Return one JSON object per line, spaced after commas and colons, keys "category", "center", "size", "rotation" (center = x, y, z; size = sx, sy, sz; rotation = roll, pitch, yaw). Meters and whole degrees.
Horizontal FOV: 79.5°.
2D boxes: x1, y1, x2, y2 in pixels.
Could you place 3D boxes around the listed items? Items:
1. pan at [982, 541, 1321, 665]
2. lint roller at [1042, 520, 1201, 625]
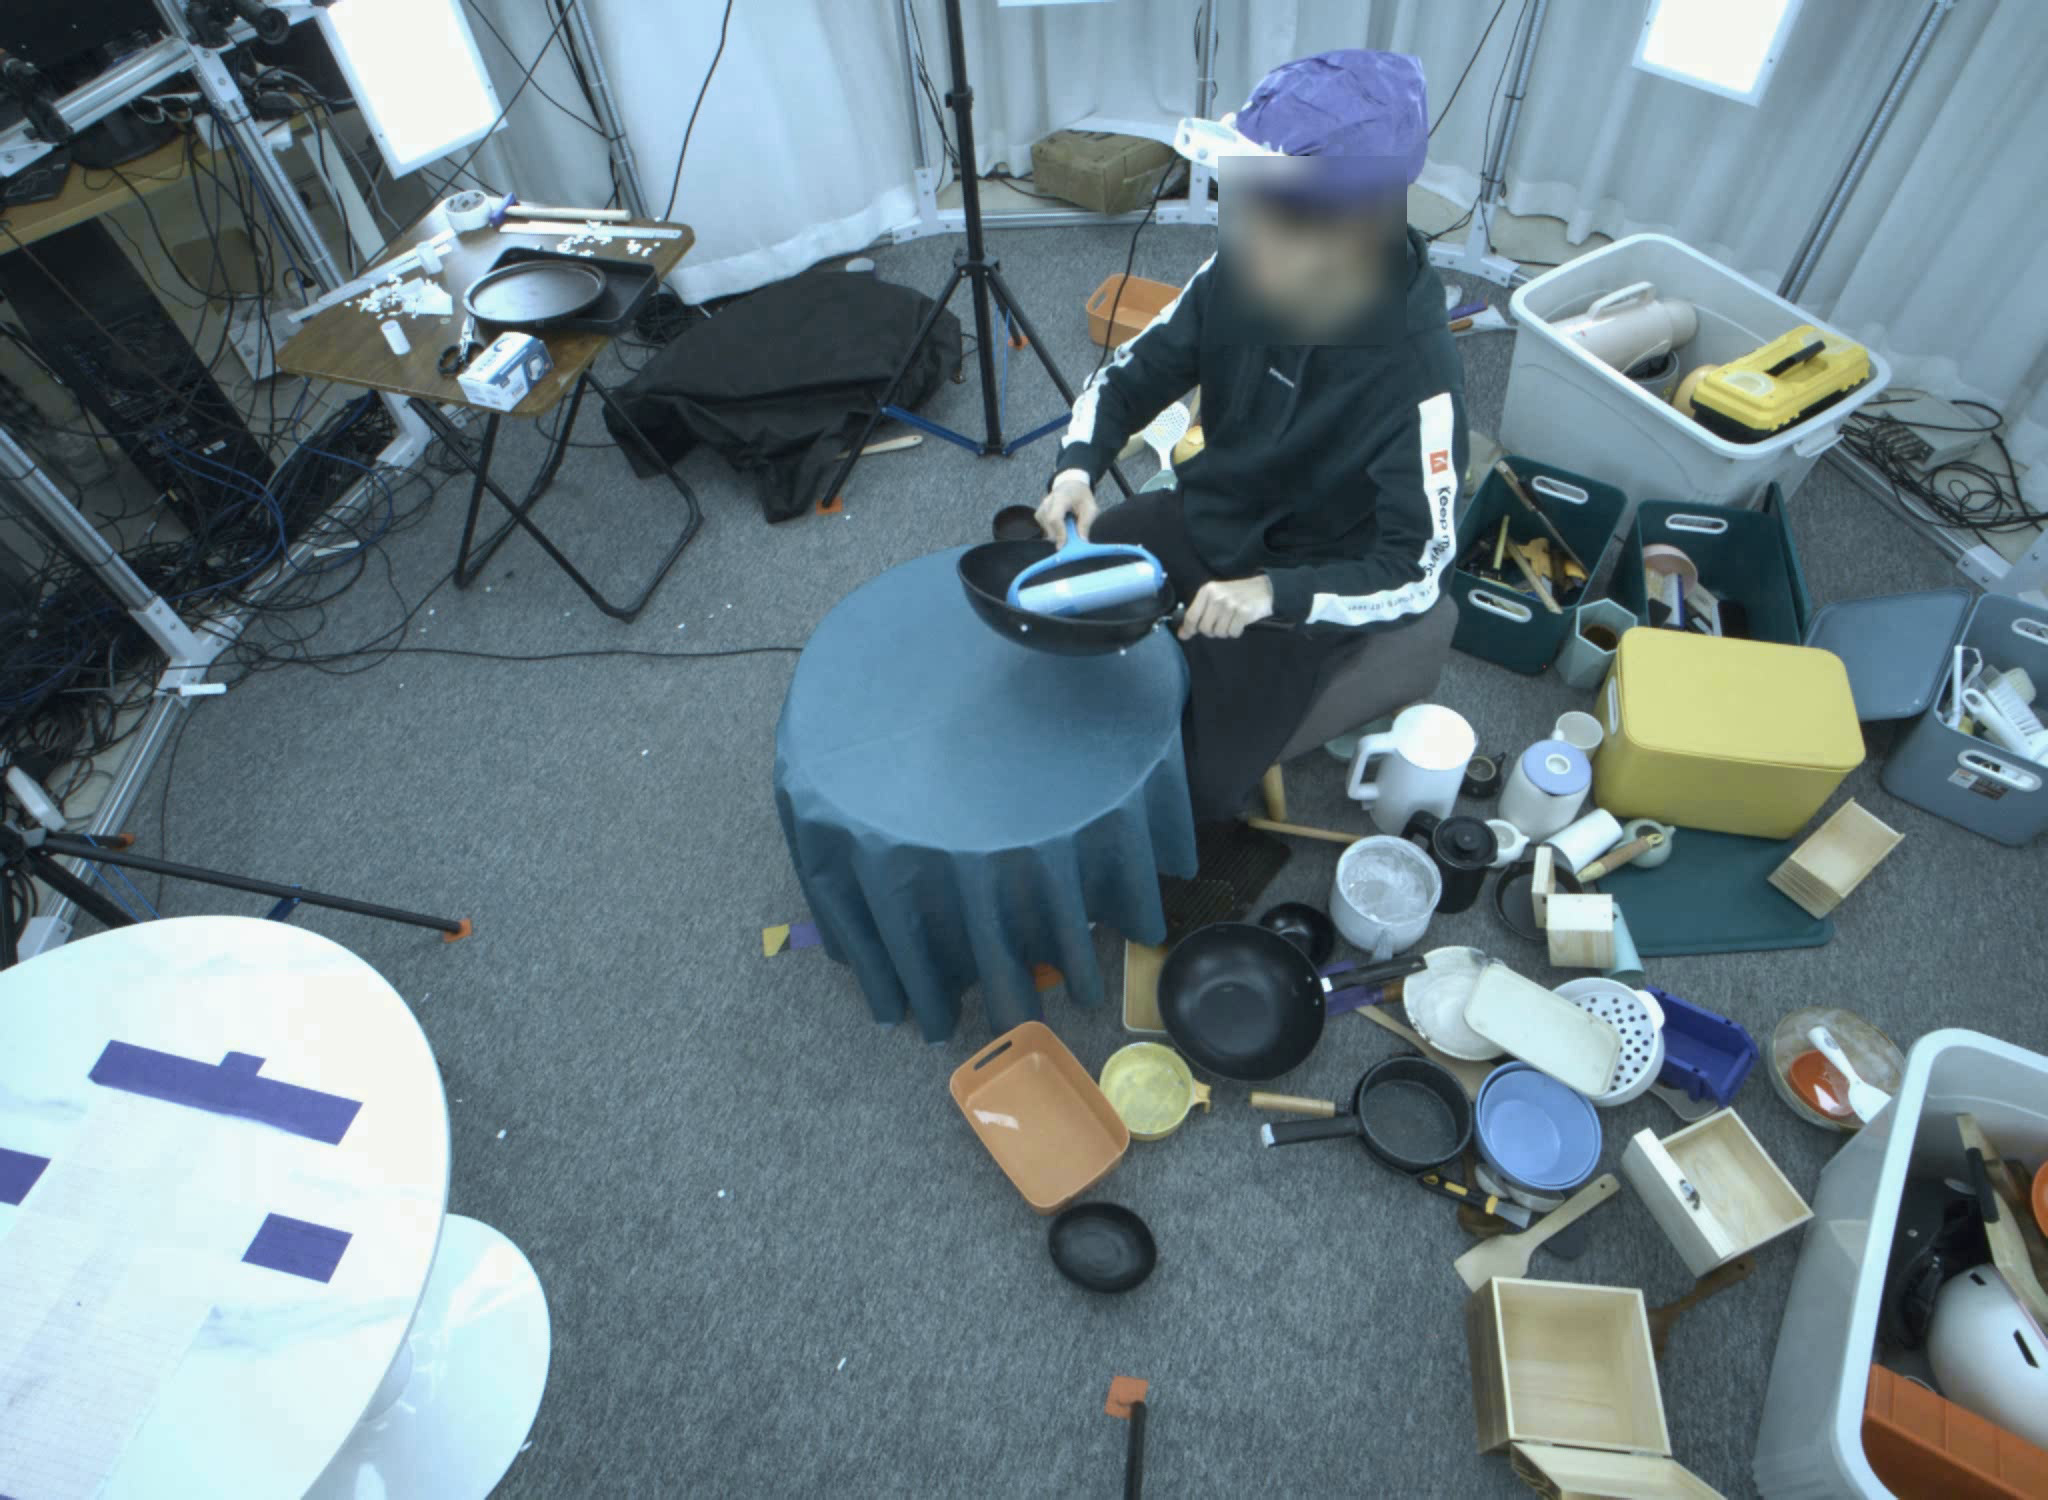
{"category": "pan", "center": [0.167, -0.180, 1.698], "size": [0.471, 0.112, 0.312], "rotation": [19, 32, 15]}
{"category": "lint roller", "center": [0.119, -0.263, 1.741], "size": [0.229, 0.068, 0.178], "rotation": [-17, 71, -3]}
